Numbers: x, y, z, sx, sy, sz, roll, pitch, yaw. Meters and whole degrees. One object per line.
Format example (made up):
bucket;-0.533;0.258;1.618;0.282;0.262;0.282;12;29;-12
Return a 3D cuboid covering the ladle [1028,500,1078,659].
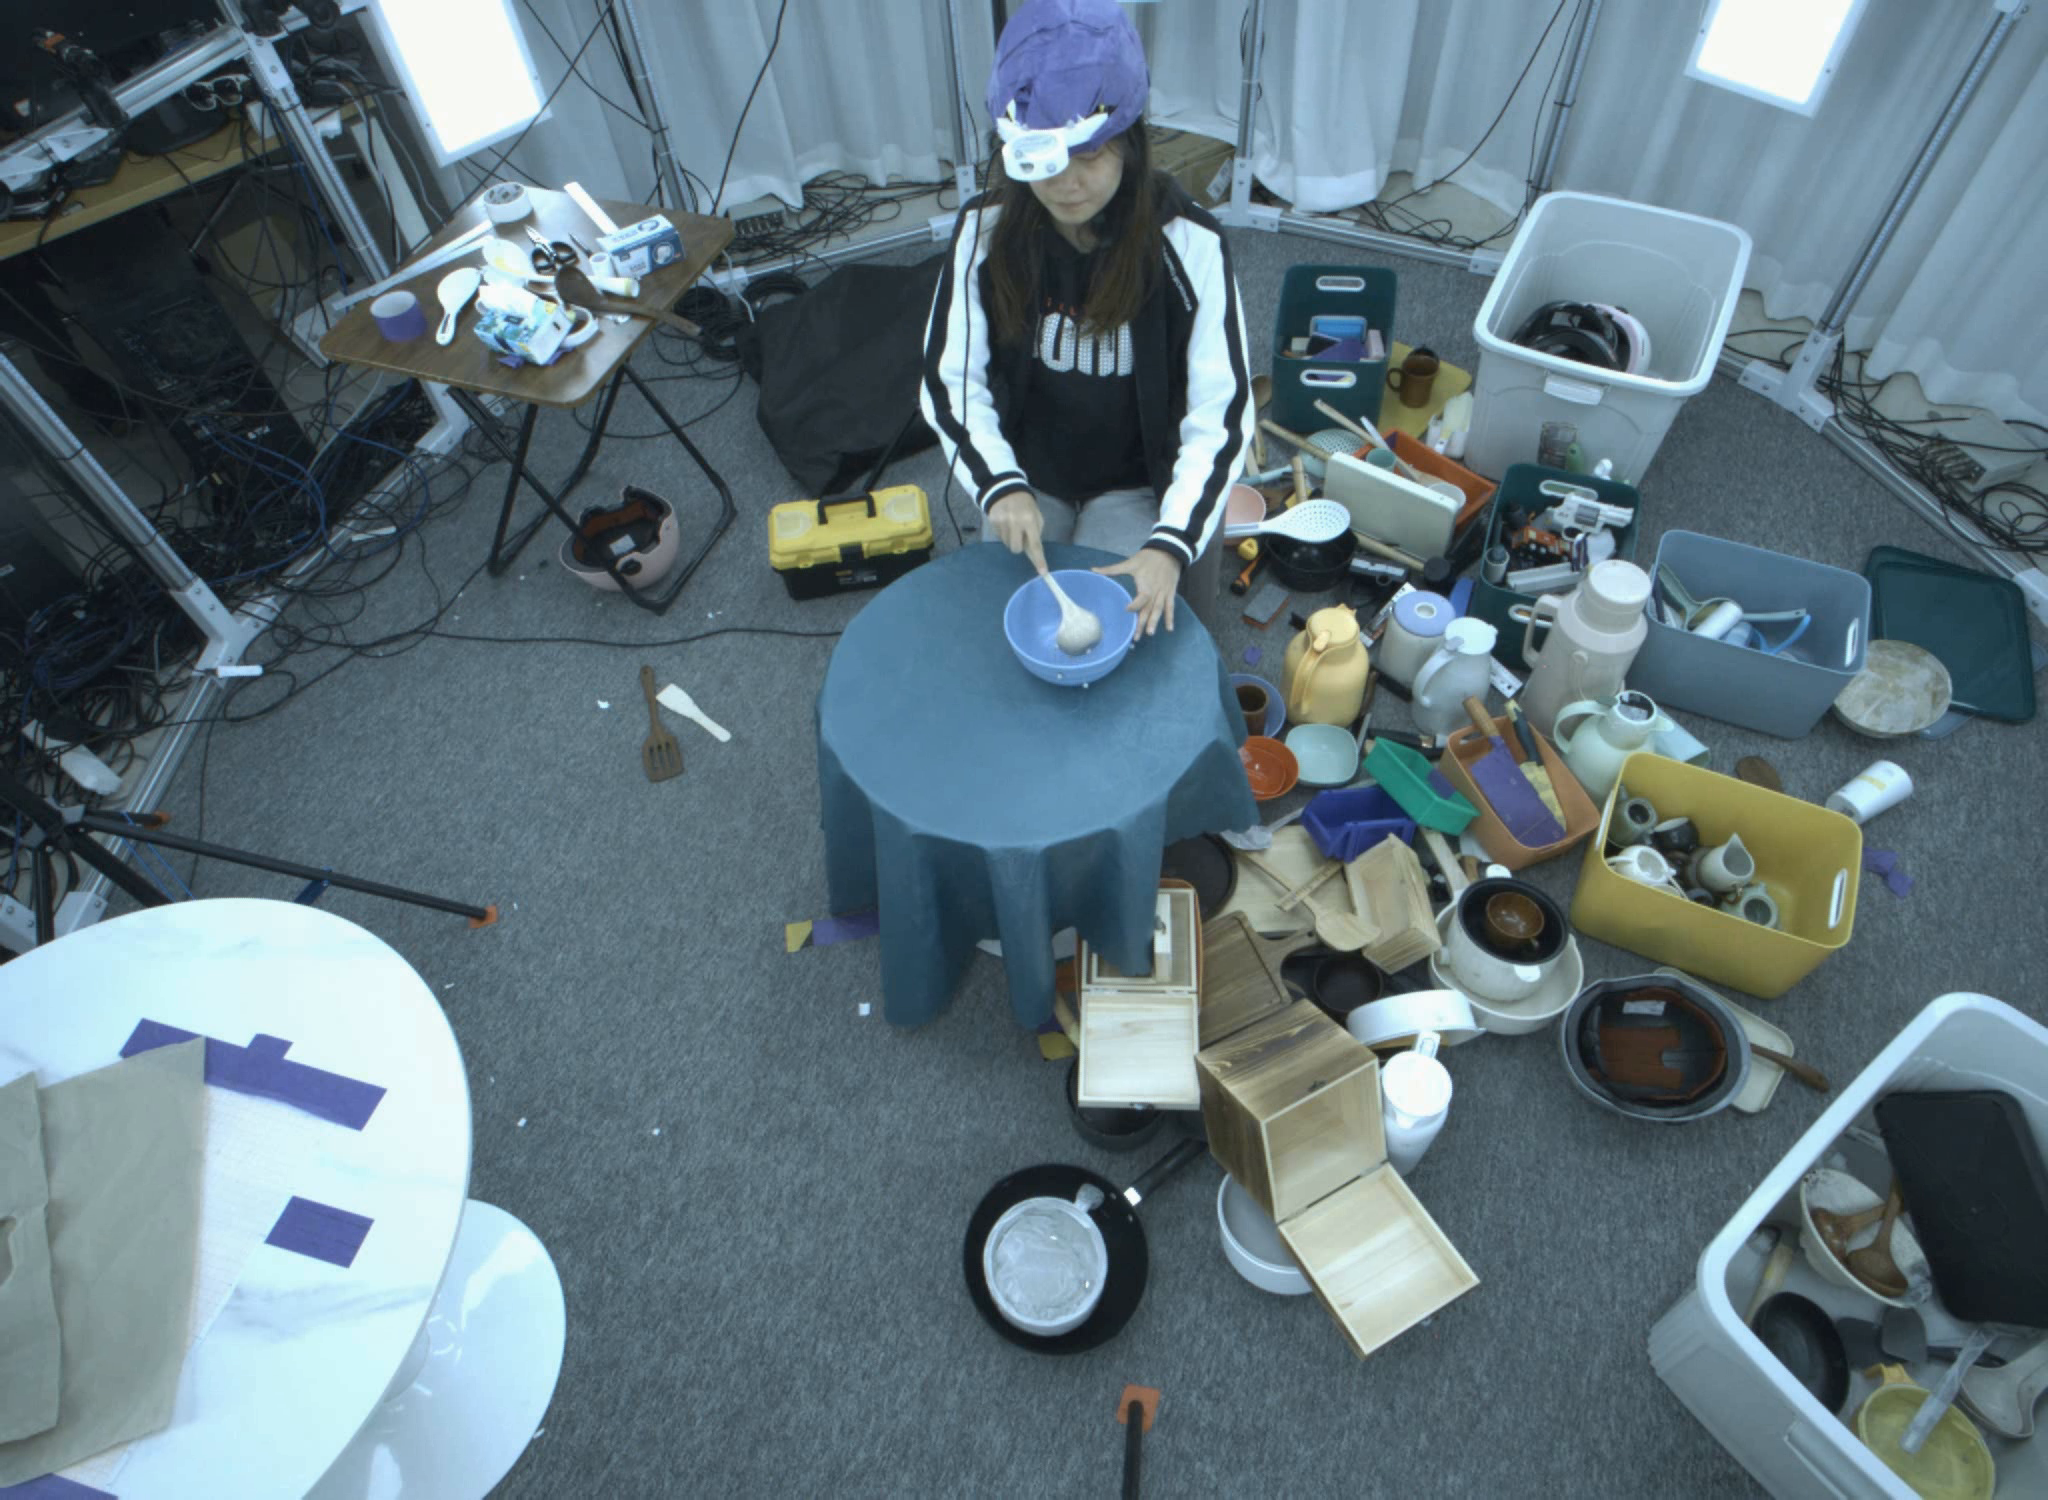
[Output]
ladle;0.019;-0.255;1.849;0.072;0.074;0.251;-31;64;33

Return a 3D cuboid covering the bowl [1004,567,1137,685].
bowl;0.070;-0.171;1.847;0.196;0.096;0.194;0;57;2
